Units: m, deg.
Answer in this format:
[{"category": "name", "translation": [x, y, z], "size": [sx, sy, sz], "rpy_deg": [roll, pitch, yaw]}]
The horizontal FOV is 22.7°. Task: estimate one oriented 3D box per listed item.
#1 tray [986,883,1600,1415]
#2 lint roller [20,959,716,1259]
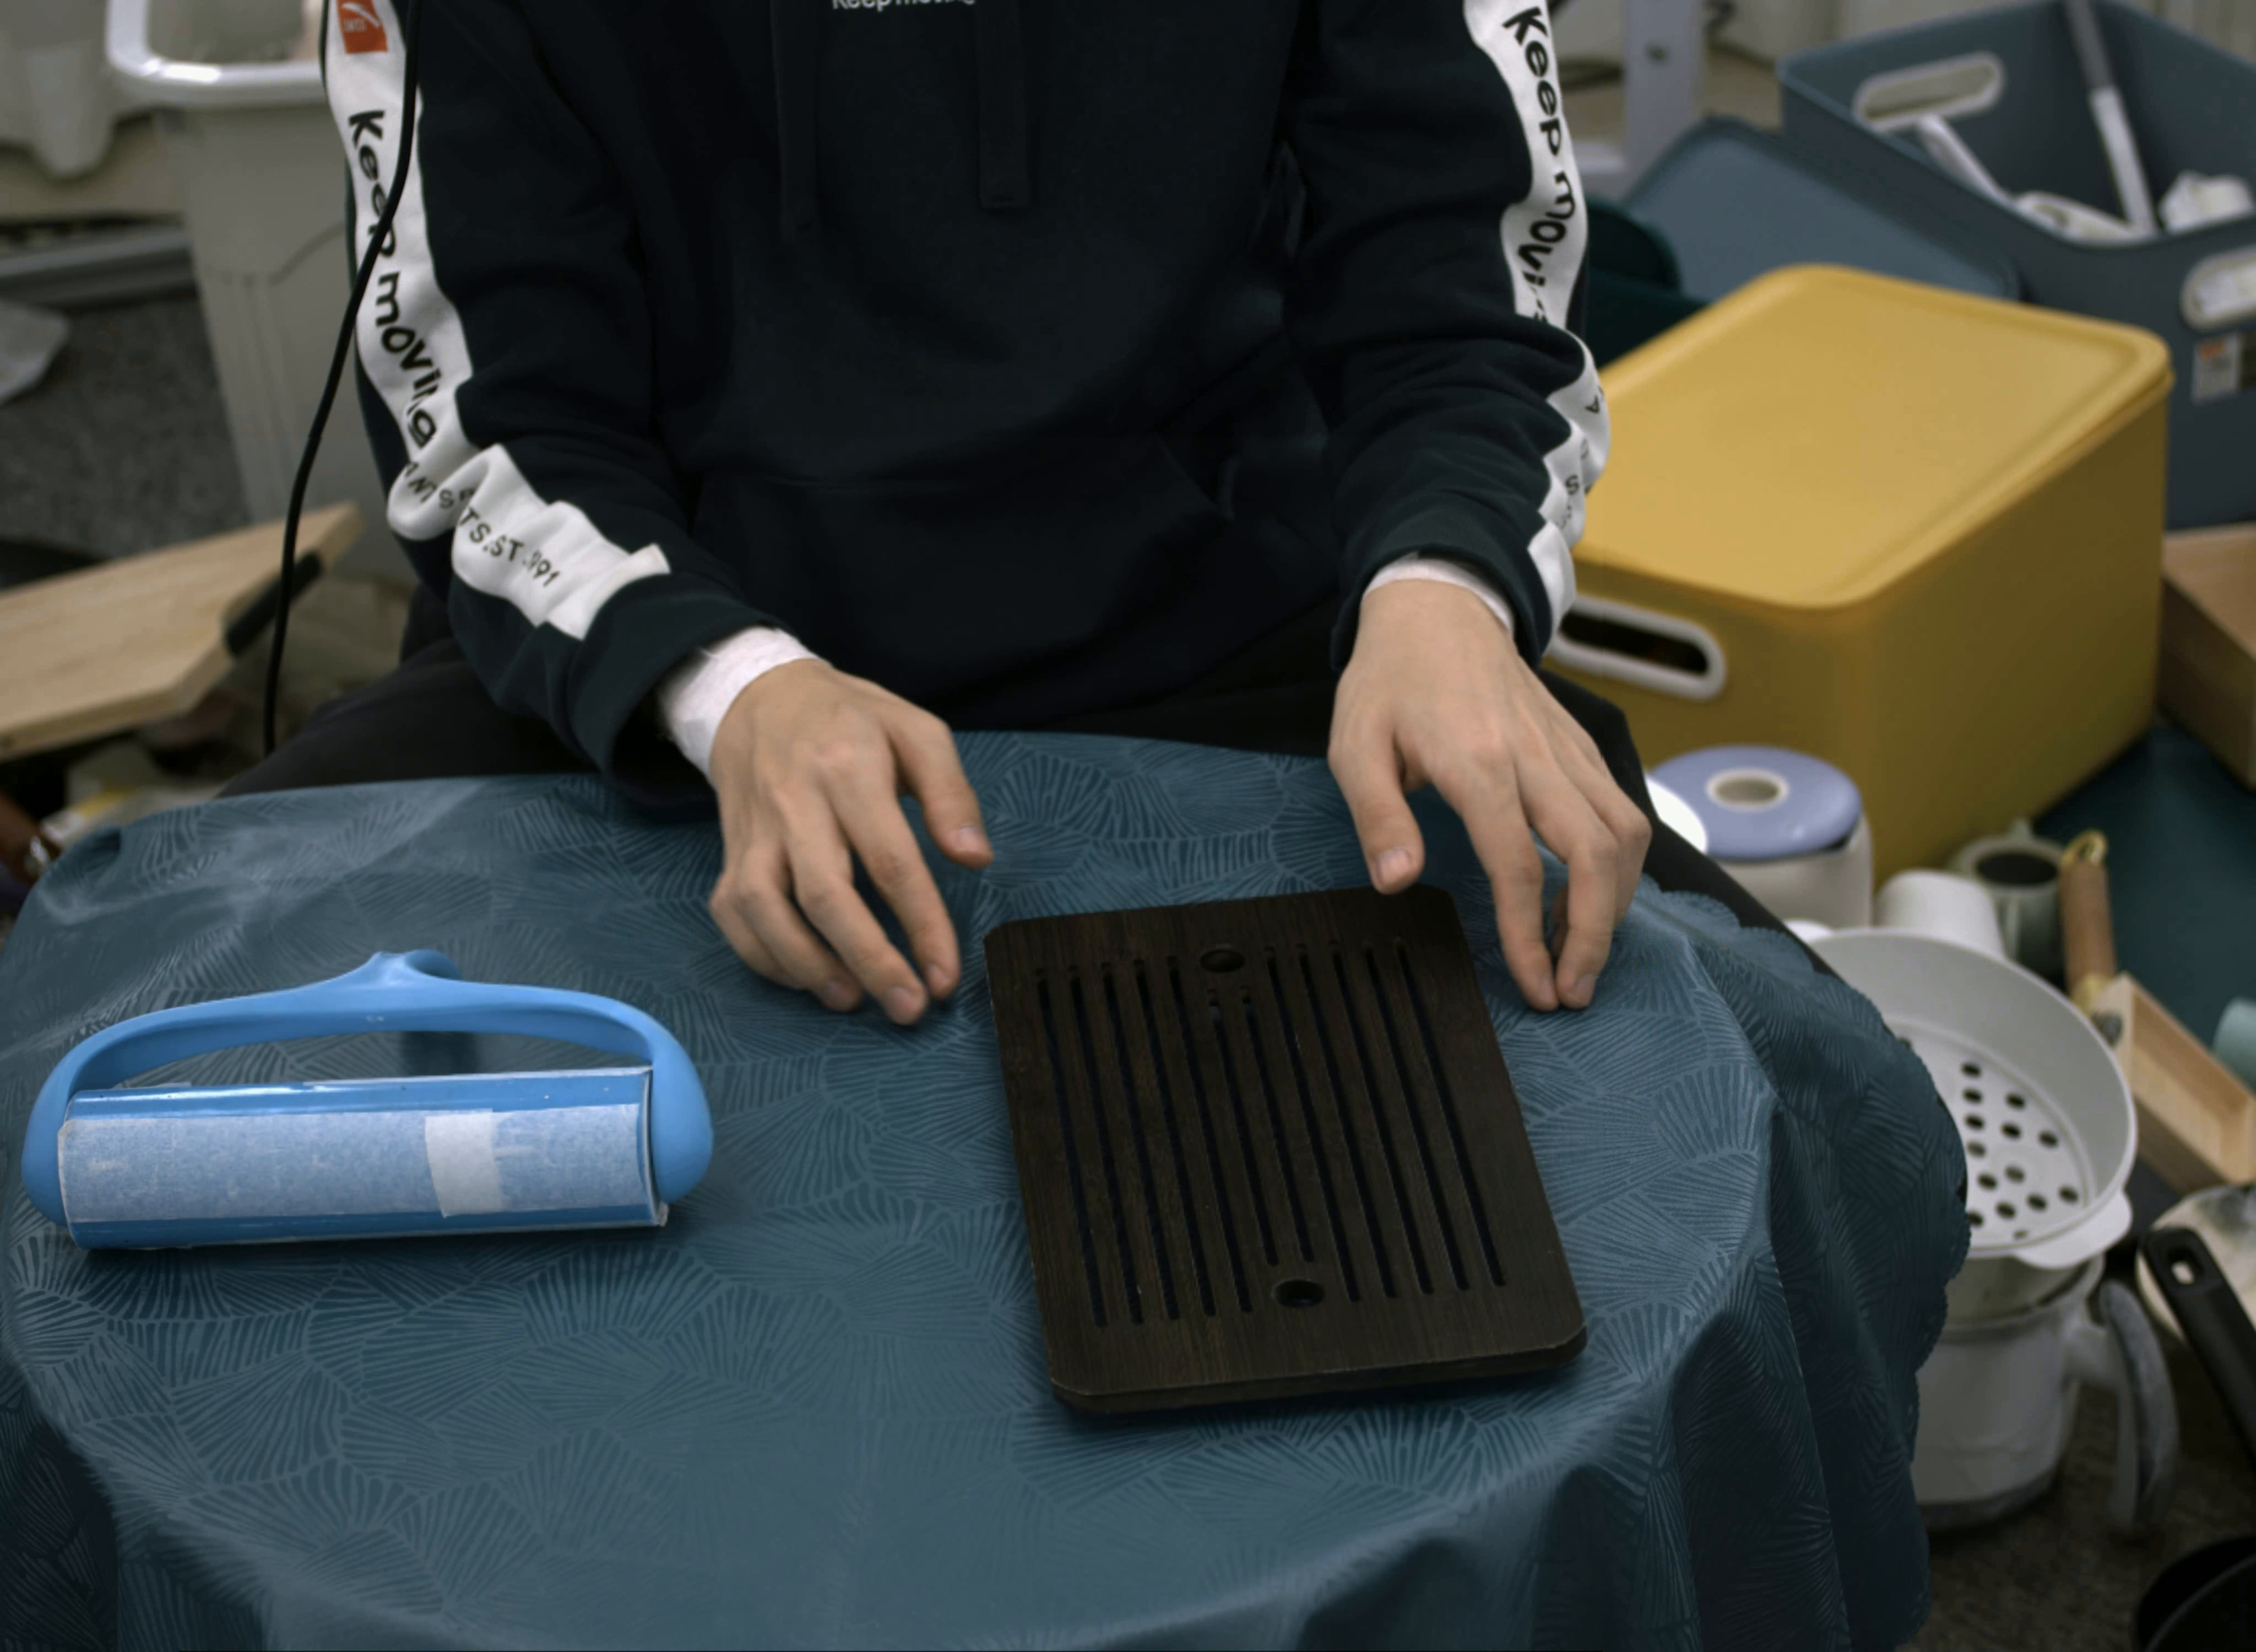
[{"category": "tray", "translation": [0.048, 0.104, 1.869], "size": [0.169, 0.018, 0.310], "rpy_deg": [-5, 28, -4]}, {"category": "lint roller", "translation": [-0.252, 0.081, 1.901], "size": [0.228, 0.067, 0.183], "rpy_deg": [-5, 29, 0]}]
